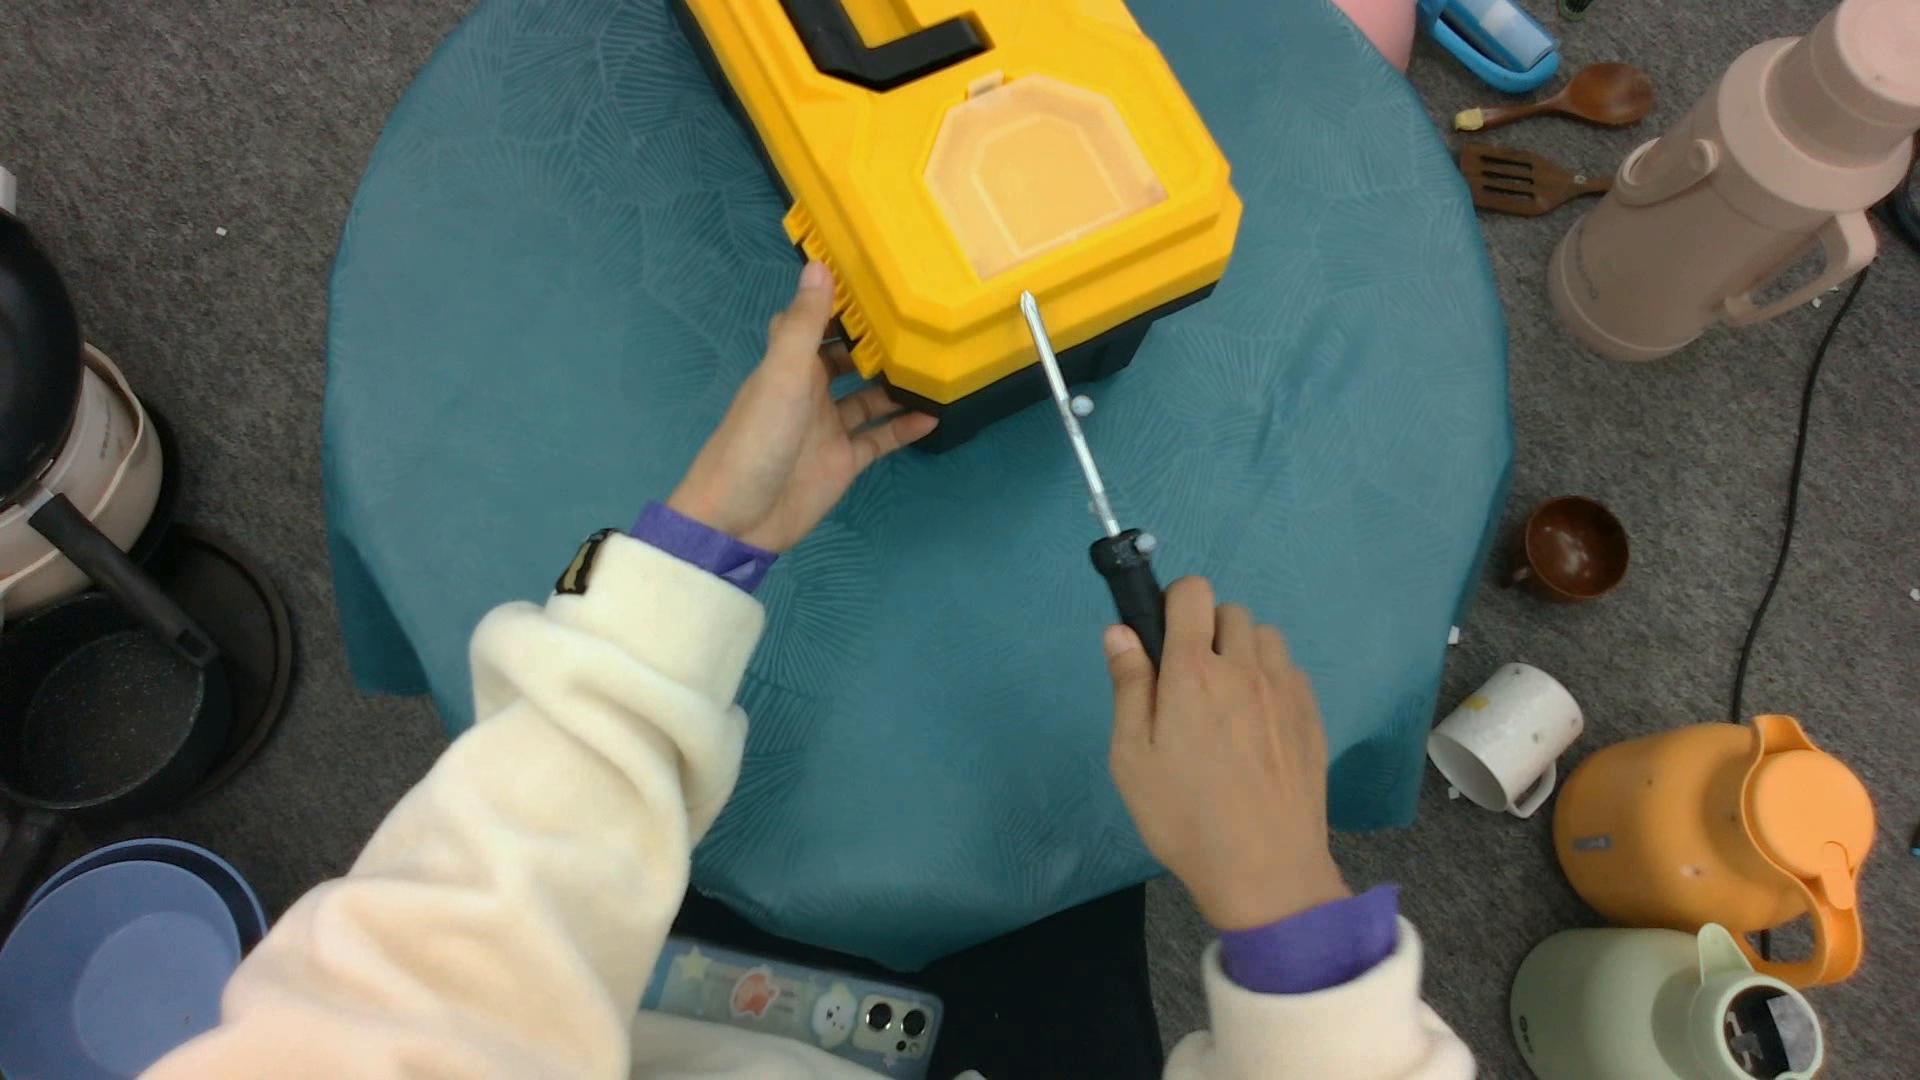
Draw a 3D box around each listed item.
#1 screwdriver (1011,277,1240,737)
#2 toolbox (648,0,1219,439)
[{"bbox_3d":[0.065,-0.013,0.535,0.031,0.031,0.196,-24,97,-11],"label":"screwdriver"},{"bbox_3d":[-0.040,-0.231,0.644,0.181,0.172,0.352,-26,78,-11],"label":"toolbox"}]
